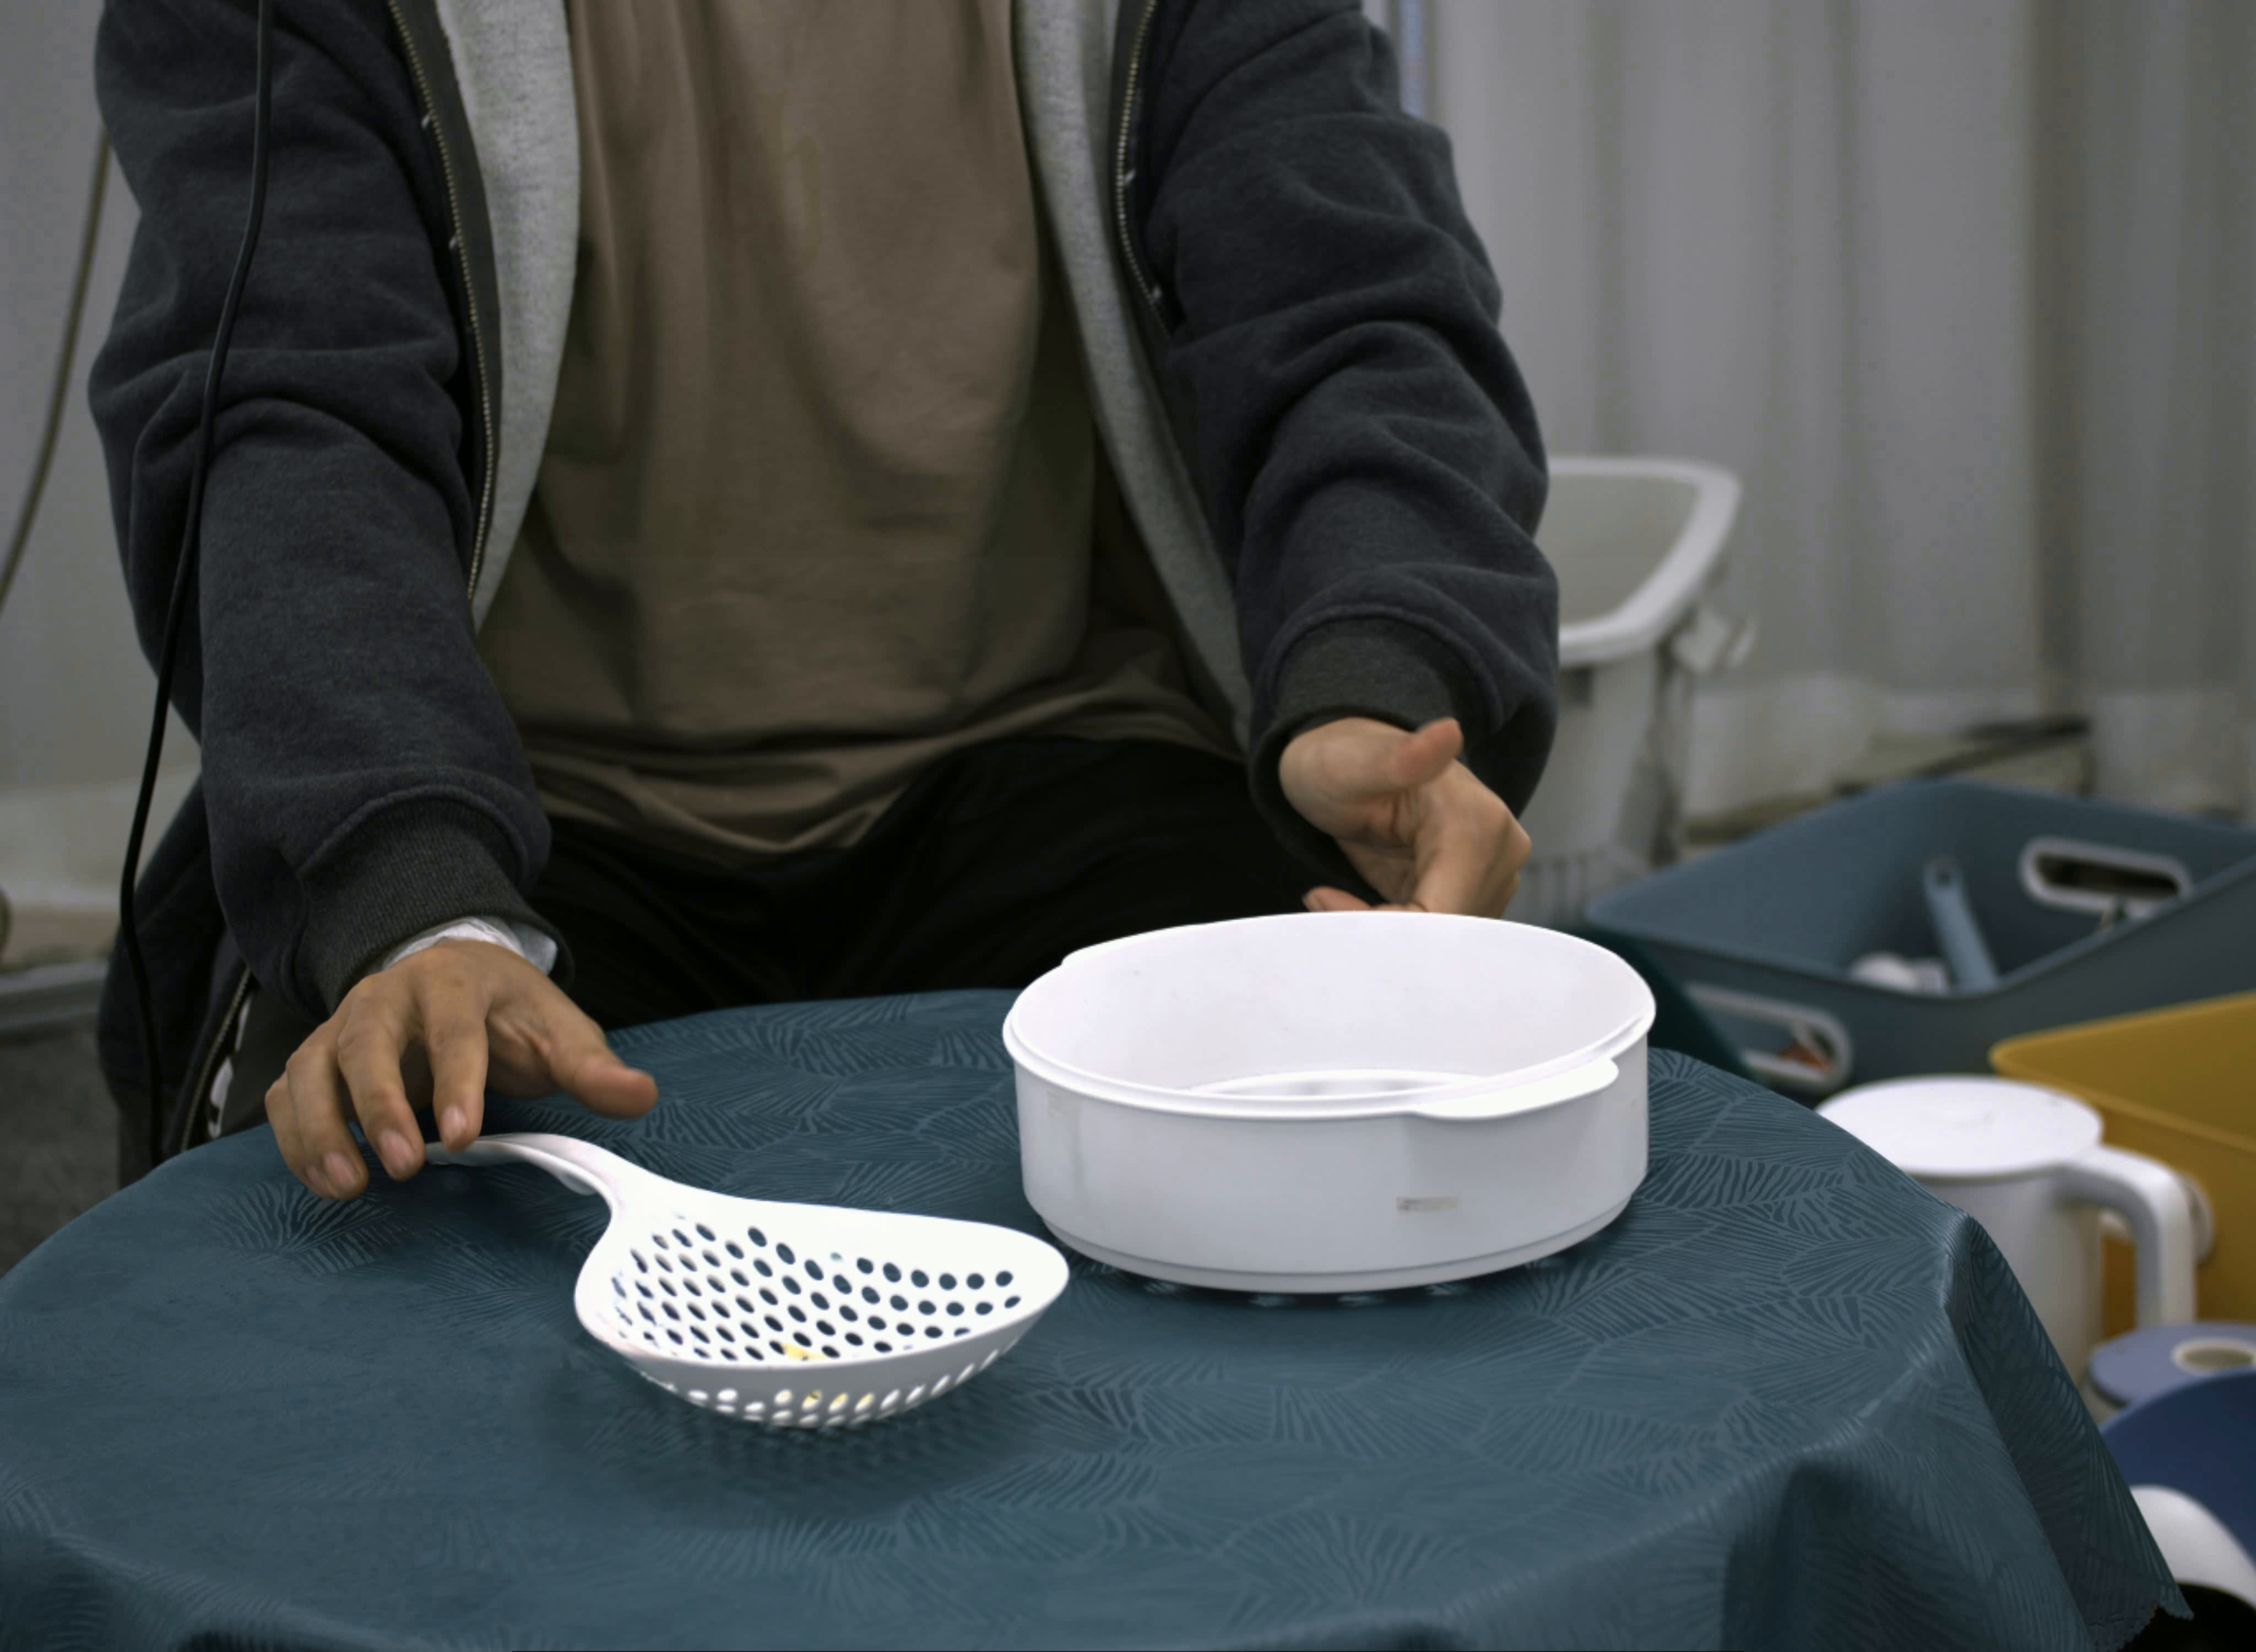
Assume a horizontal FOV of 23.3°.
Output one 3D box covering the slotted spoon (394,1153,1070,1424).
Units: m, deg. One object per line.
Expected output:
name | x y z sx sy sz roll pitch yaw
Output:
slotted spoon | -0.139 0.124 1.631 0.136 0.050 0.350 -15 18 -28

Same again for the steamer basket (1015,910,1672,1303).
steamer basket | 0.066 0.086 1.679 0.201 0.069 0.232 -12 19 -31
